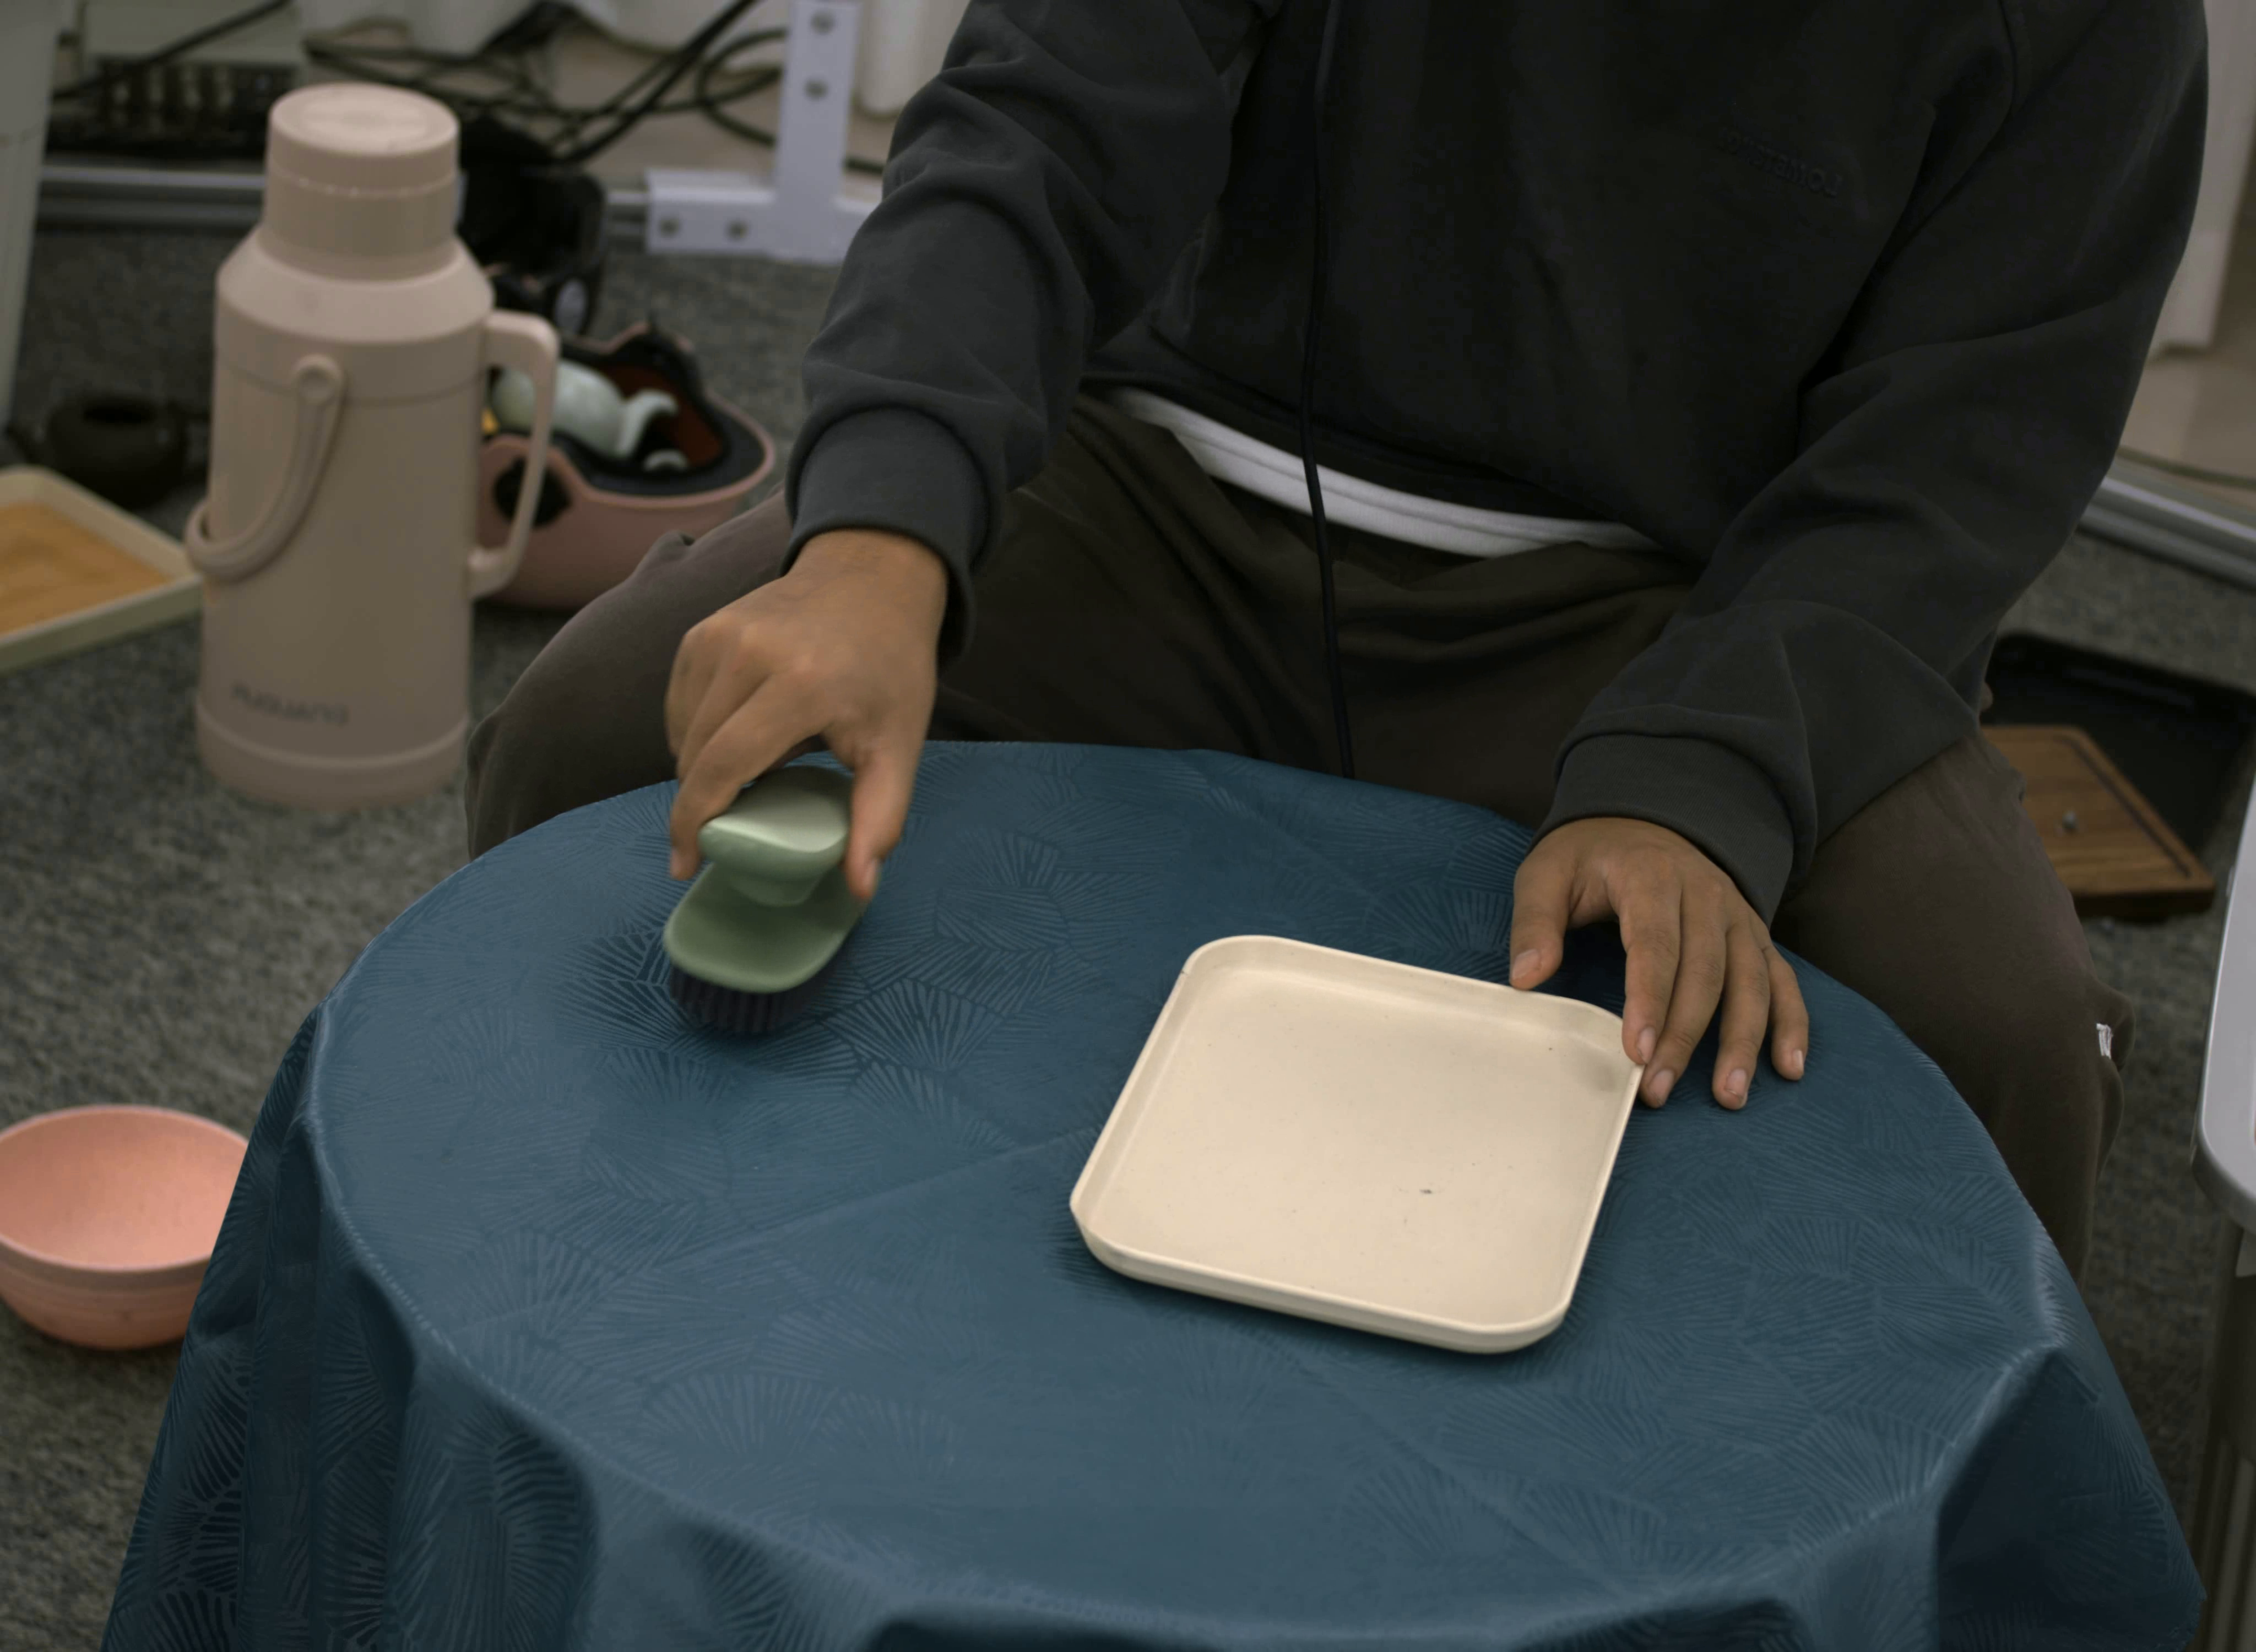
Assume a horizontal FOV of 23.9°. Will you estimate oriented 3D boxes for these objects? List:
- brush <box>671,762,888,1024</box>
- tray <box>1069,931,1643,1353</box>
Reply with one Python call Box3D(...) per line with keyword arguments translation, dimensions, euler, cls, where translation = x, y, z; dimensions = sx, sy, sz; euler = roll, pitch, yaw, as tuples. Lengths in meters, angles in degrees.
Box3D(translation=(-0.123, 0.022, 1.893), dimensions=(0.059, 0.075, 0.123), euler=(17, 16, 9), cls="brush")
Box3D(translation=(0.082, 0.108, 1.837), dimensions=(0.171, 0.017, 0.240), euler=(12, 27, 9), cls="tray")
